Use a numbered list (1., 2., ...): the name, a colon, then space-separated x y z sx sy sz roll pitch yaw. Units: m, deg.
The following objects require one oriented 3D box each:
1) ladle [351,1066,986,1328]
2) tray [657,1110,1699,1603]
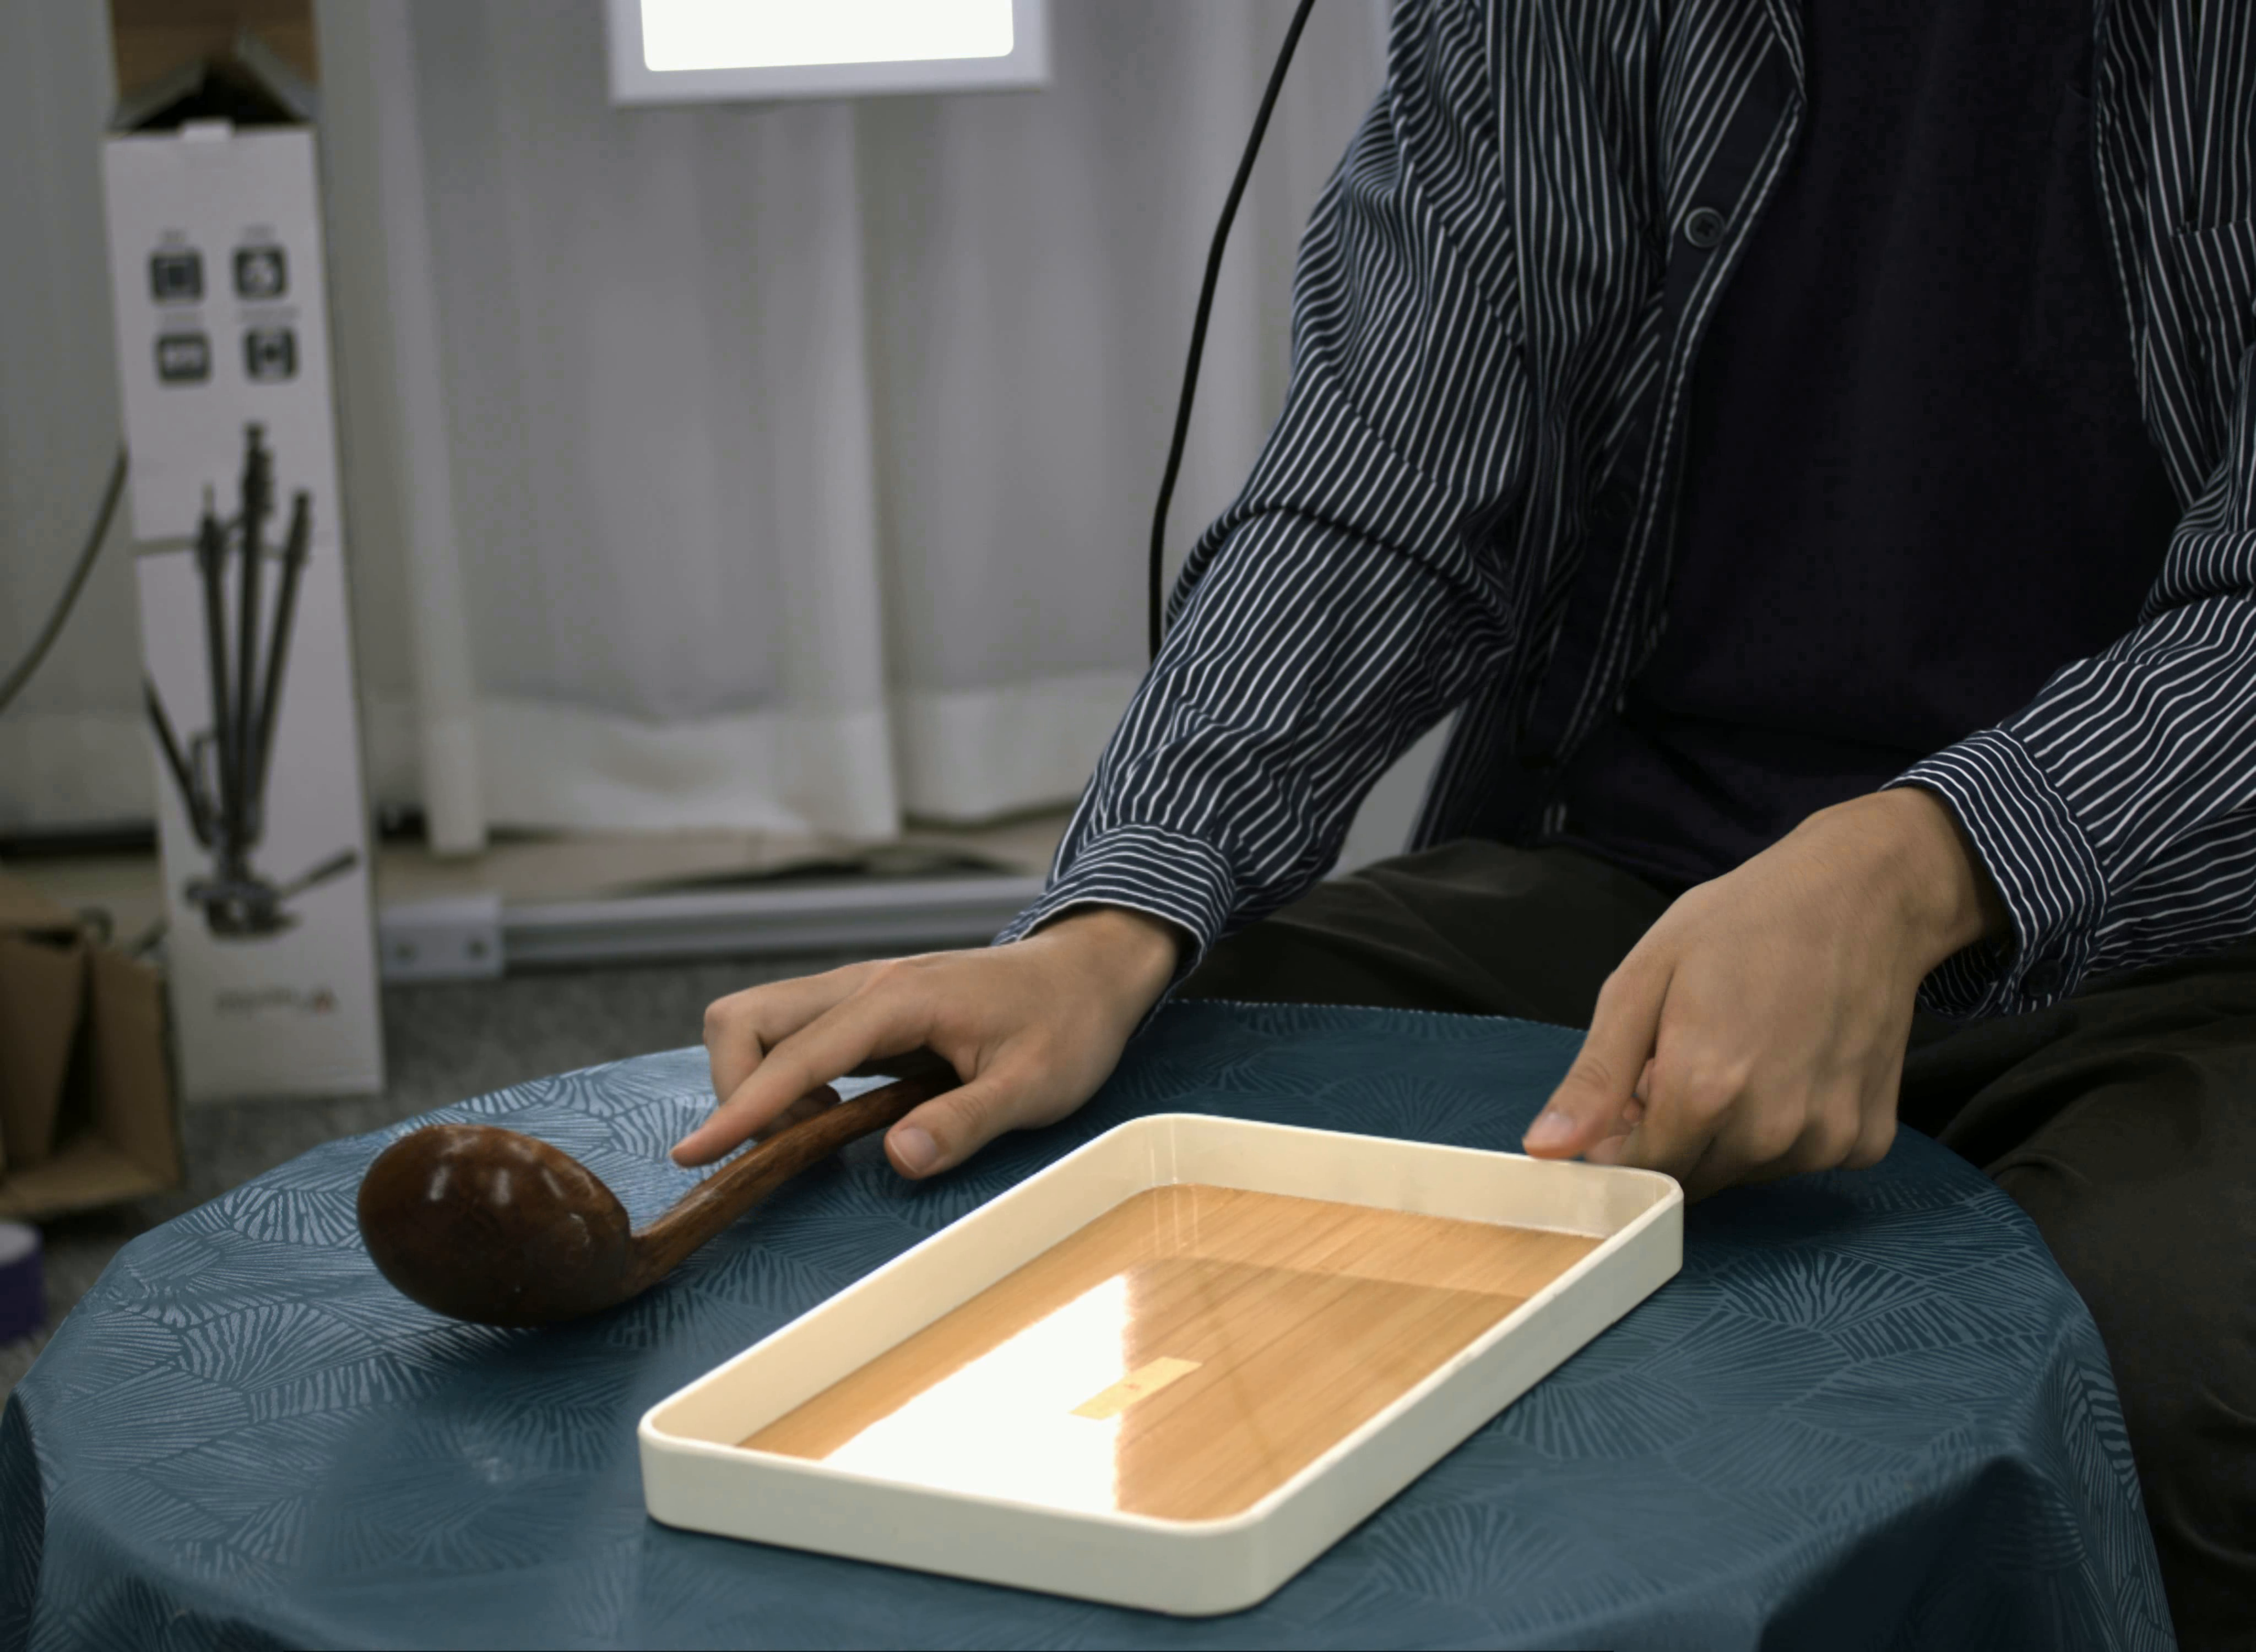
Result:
1. ladle: -0.135 0.091 1.689 0.082 0.076 0.274 -15 7 33
2. tray: 0.021 0.144 1.552 0.192 0.027 0.300 5 17 30
